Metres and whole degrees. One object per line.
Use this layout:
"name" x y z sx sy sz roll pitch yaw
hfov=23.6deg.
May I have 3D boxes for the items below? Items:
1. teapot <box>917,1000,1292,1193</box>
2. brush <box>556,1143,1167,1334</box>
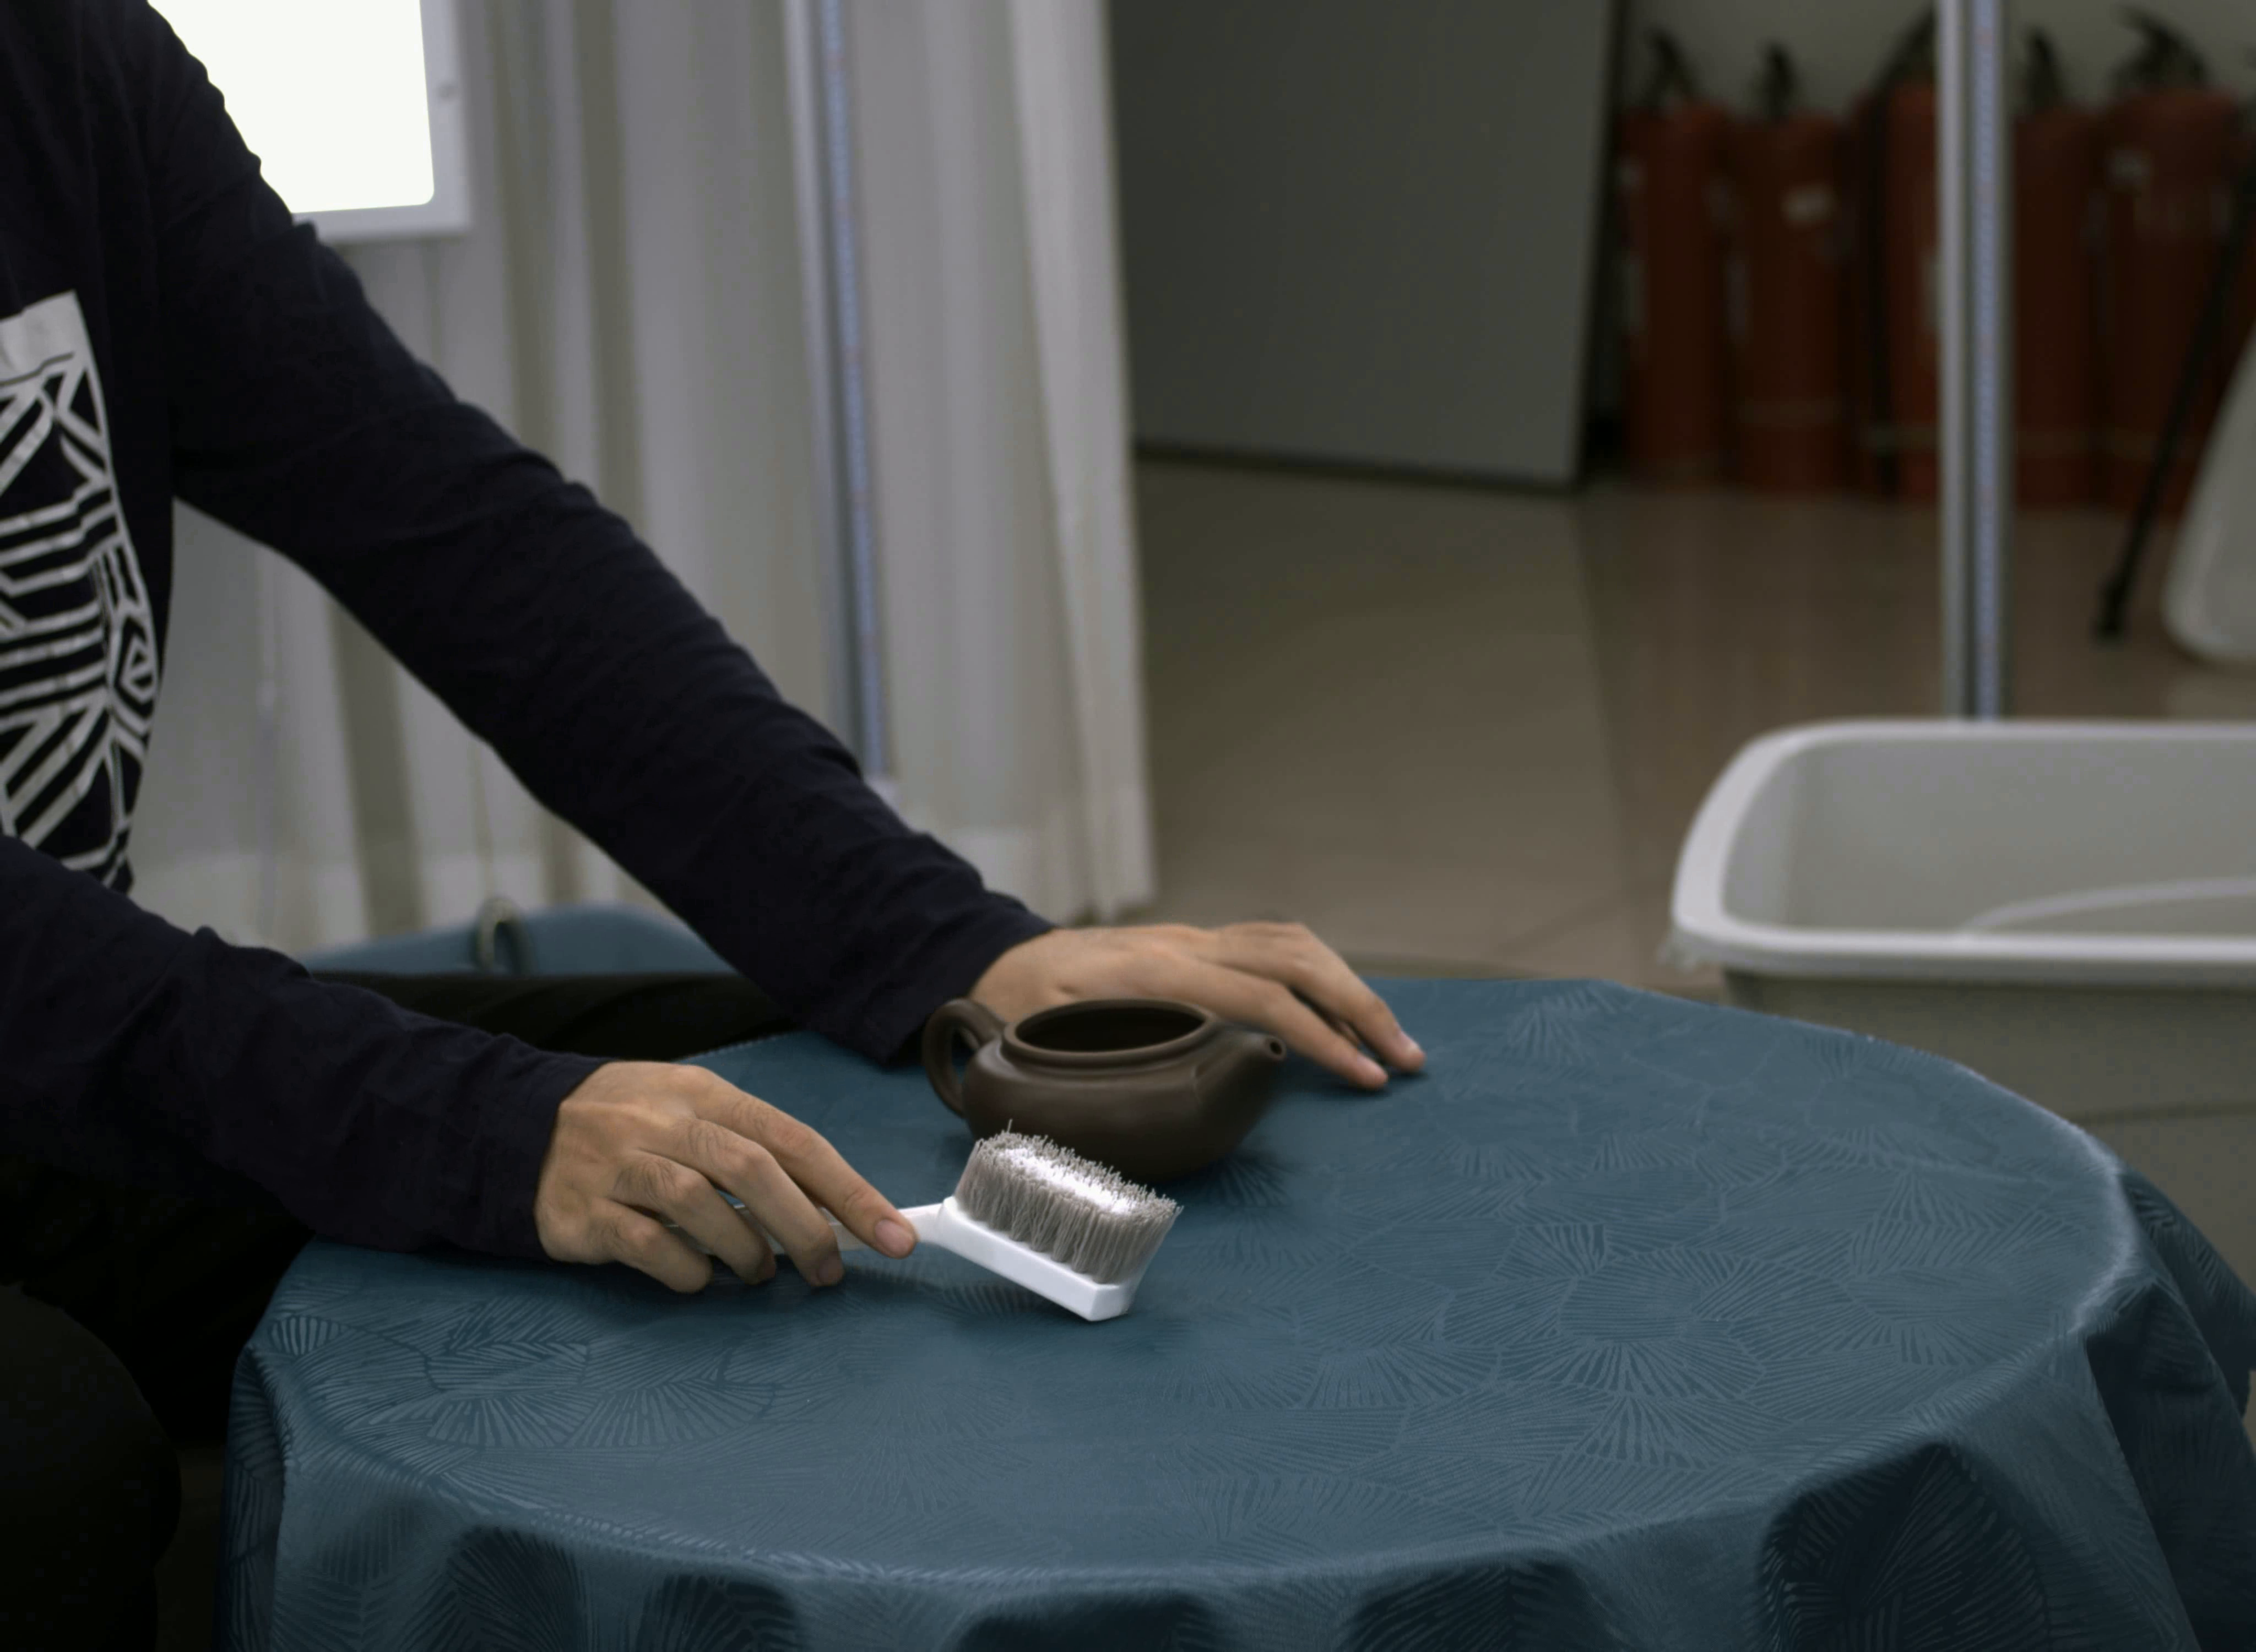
"teapot" -0.008 0.088 1.801 0.154 0.054 0.101 6 16 33
"brush" -0.090 0.119 1.714 0.245 0.051 0.034 7 19 38
